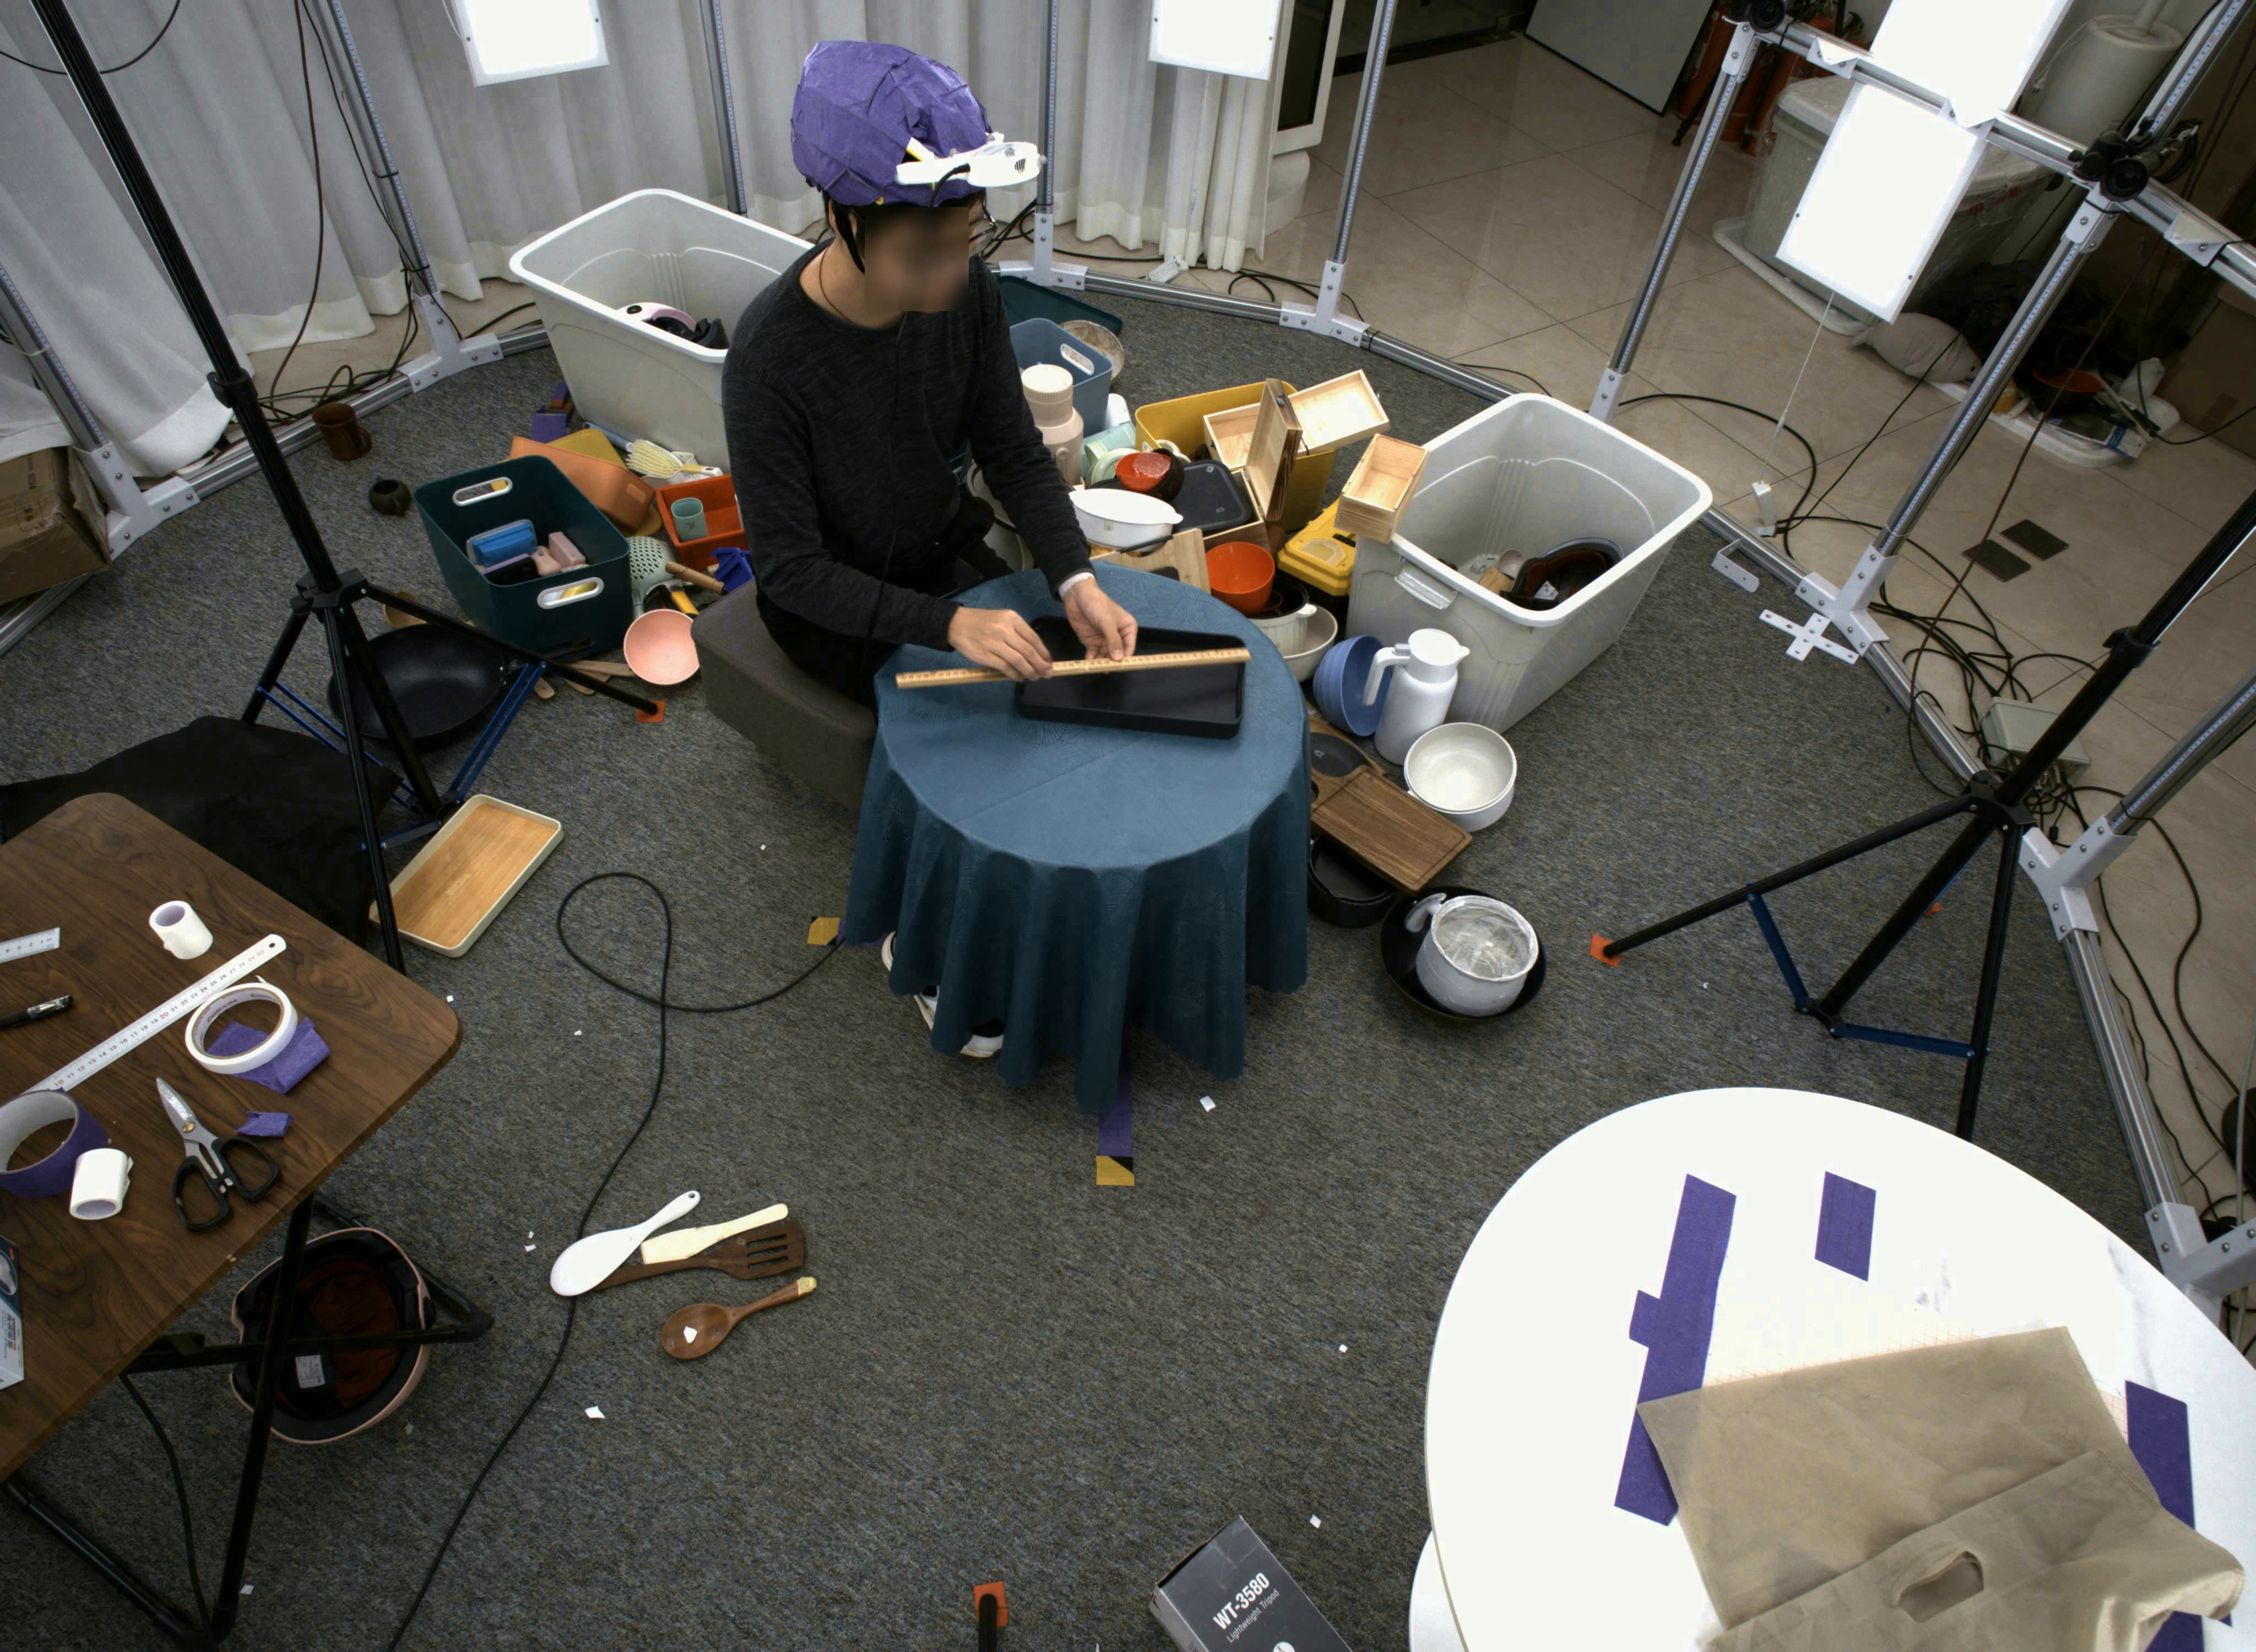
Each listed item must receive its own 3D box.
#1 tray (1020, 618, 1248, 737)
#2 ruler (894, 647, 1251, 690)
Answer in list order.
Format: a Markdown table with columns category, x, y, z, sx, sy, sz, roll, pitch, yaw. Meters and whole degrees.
| category | x | y | z | sx | sy | sz | roll | pitch | yaw |
| --- | --- | --- | --- | --- | --- | --- | --- | --- | --- |
| tray | 0.012 | -0.213 | 1.833 | 0.318 | 0.036 | 0.189 | 5 | 49 | 1 |
| ruler | -0.068 | -0.219 | 1.769 | 0.500 | 0.006 | 0.027 | -7 | 44 | -14 |
